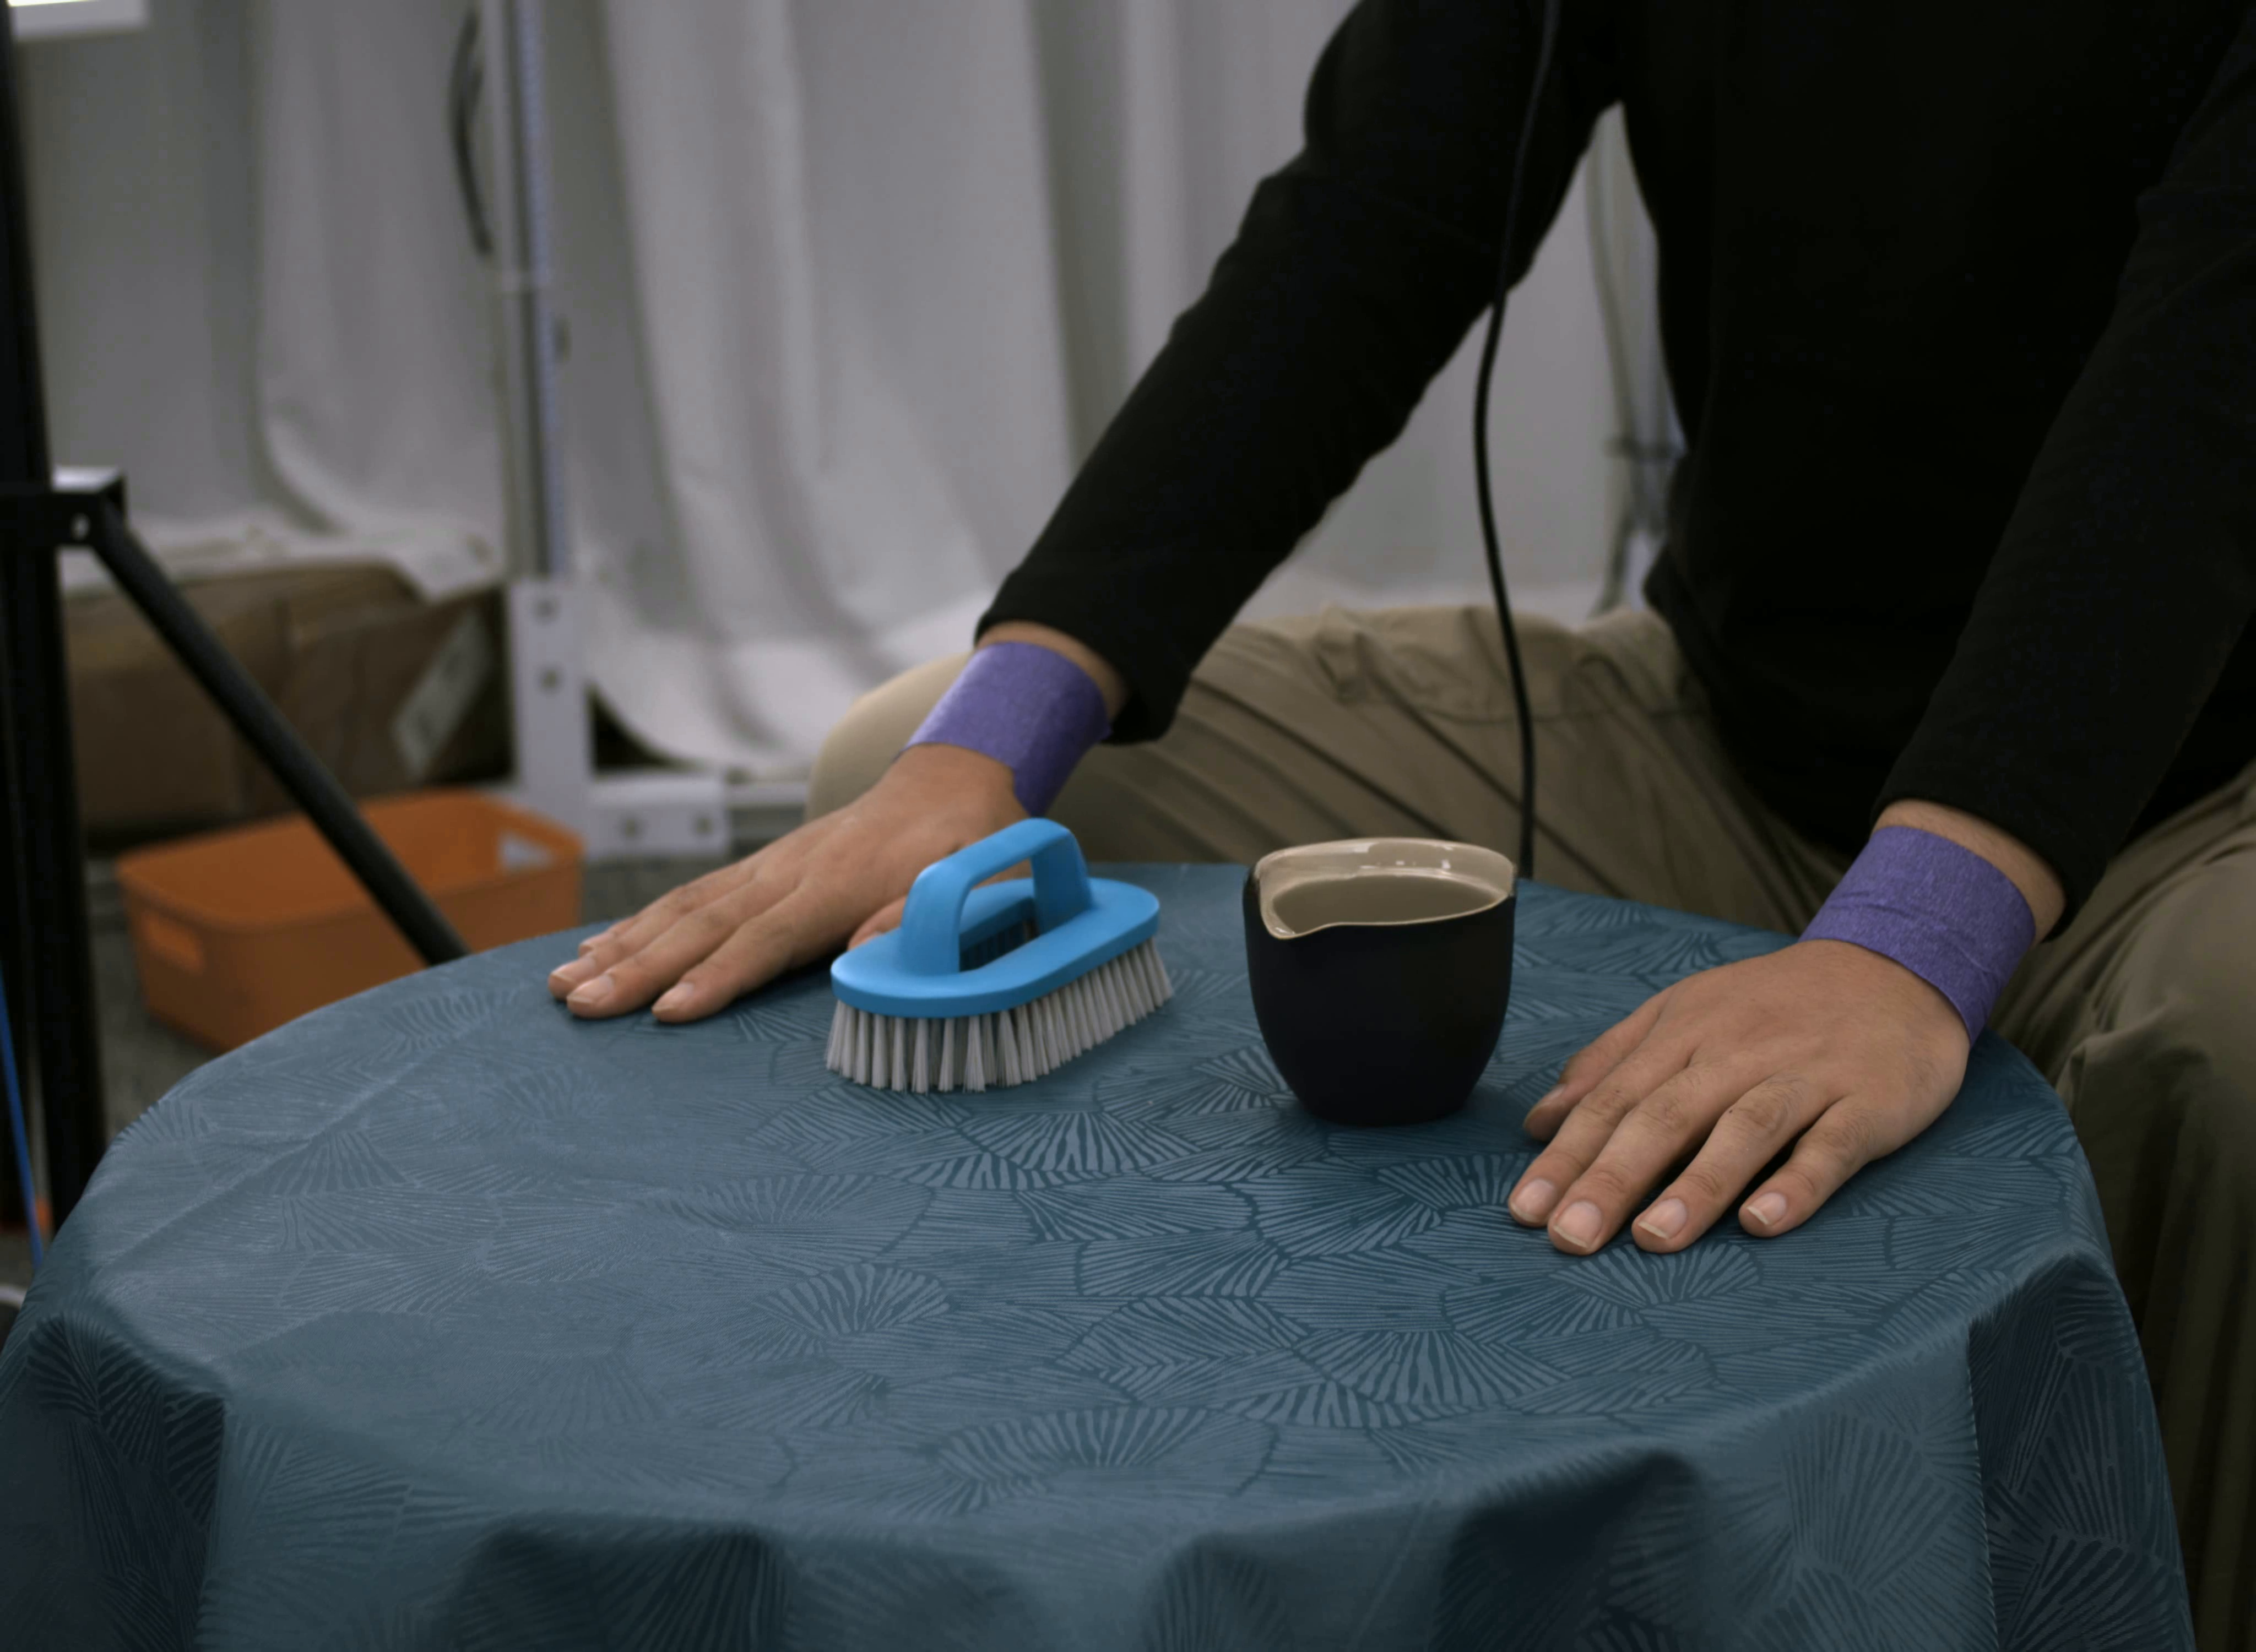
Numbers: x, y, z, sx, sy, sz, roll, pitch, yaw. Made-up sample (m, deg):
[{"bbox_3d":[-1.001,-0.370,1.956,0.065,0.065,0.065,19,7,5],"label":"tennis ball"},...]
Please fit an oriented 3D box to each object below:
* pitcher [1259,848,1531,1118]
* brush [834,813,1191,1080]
[{"bbox_3d":[0.079,0.049,1.617,0.085,0.071,0.094,13,23,40],"label":"pitcher"},{"bbox_3d":[-0.039,0.033,1.708,0.086,0.064,0.139,2,15,33],"label":"brush"}]
